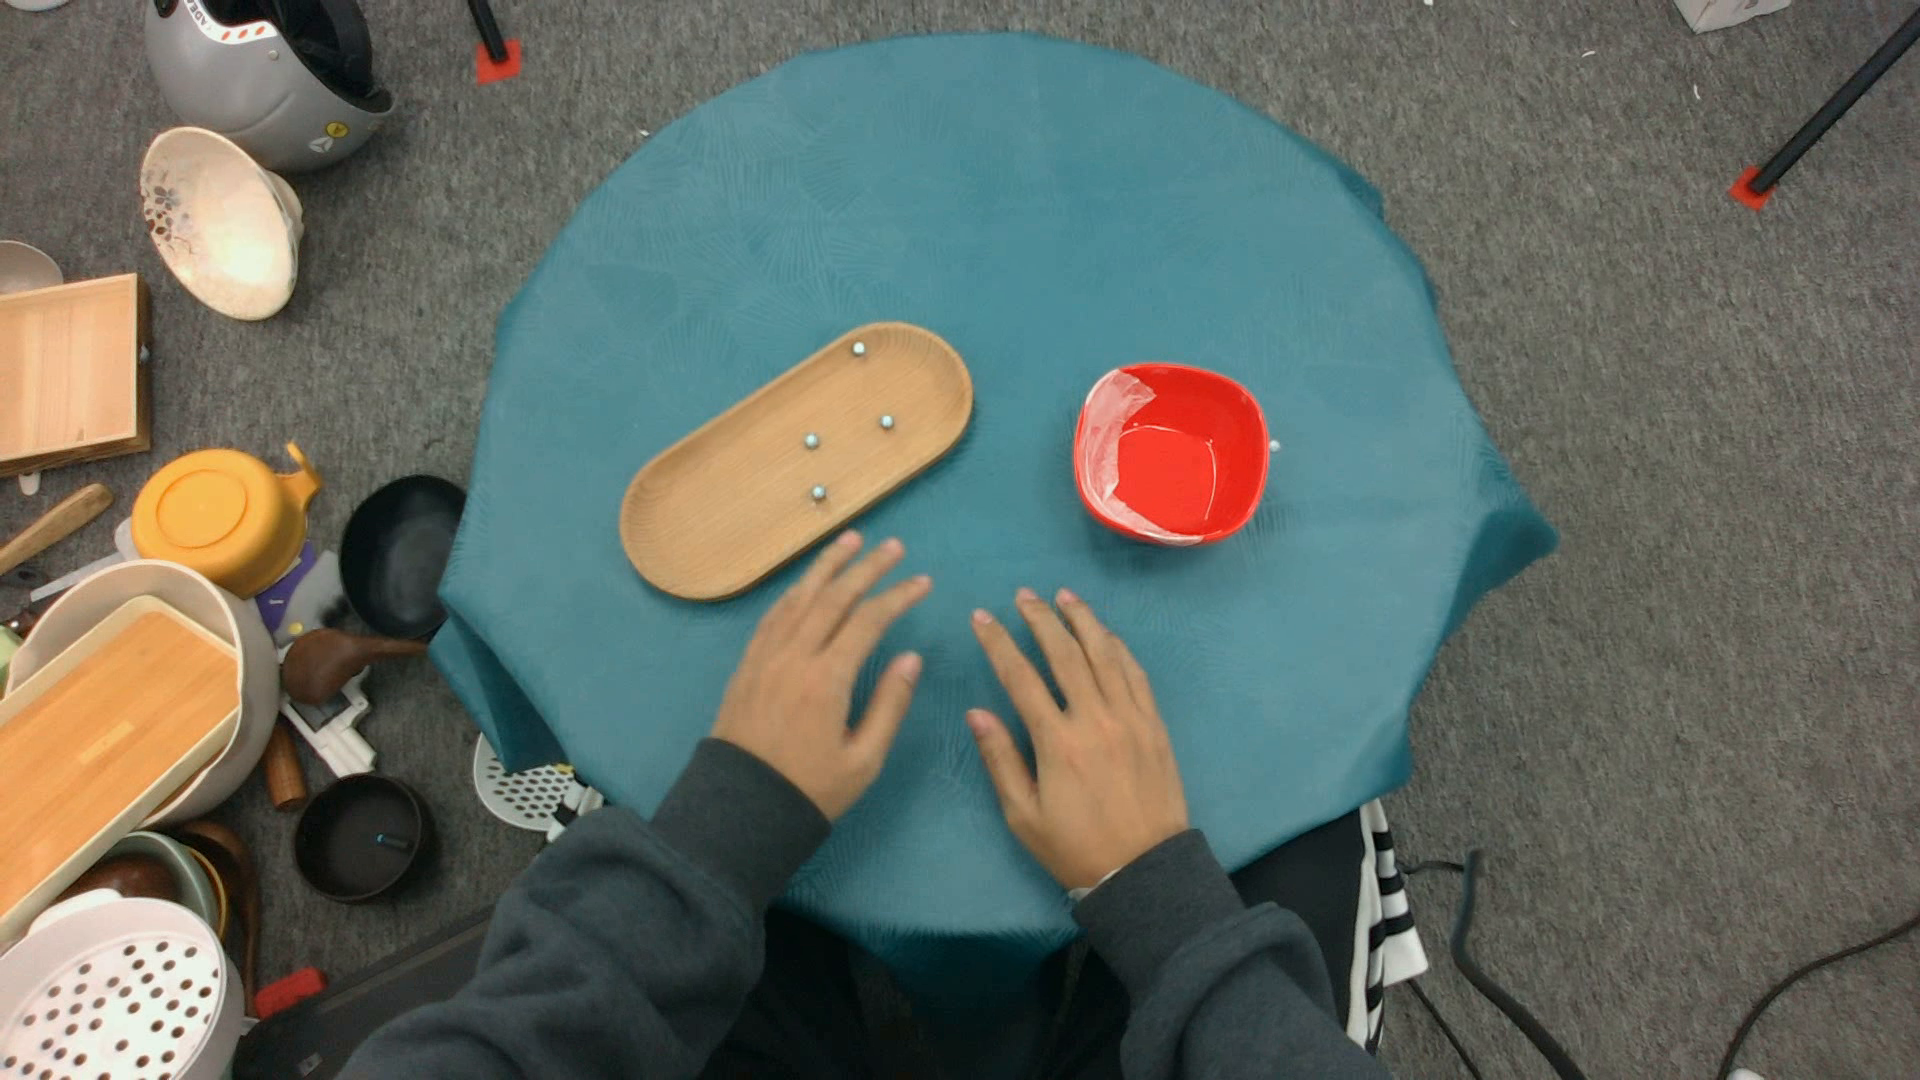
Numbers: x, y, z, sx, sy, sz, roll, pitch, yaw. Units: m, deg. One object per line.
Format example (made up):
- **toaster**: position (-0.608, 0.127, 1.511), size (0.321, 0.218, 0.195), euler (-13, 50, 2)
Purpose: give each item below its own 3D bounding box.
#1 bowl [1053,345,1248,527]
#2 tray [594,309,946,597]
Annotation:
- **bowl**: position (0.107, -0.053, 0.798), size (0.119, 0.051, 0.119), euler (1, 67, -2)
- **tray**: position (-0.110, -0.054, 0.814), size (0.231, 0.020, 0.102), euler (-38, 73, -13)
